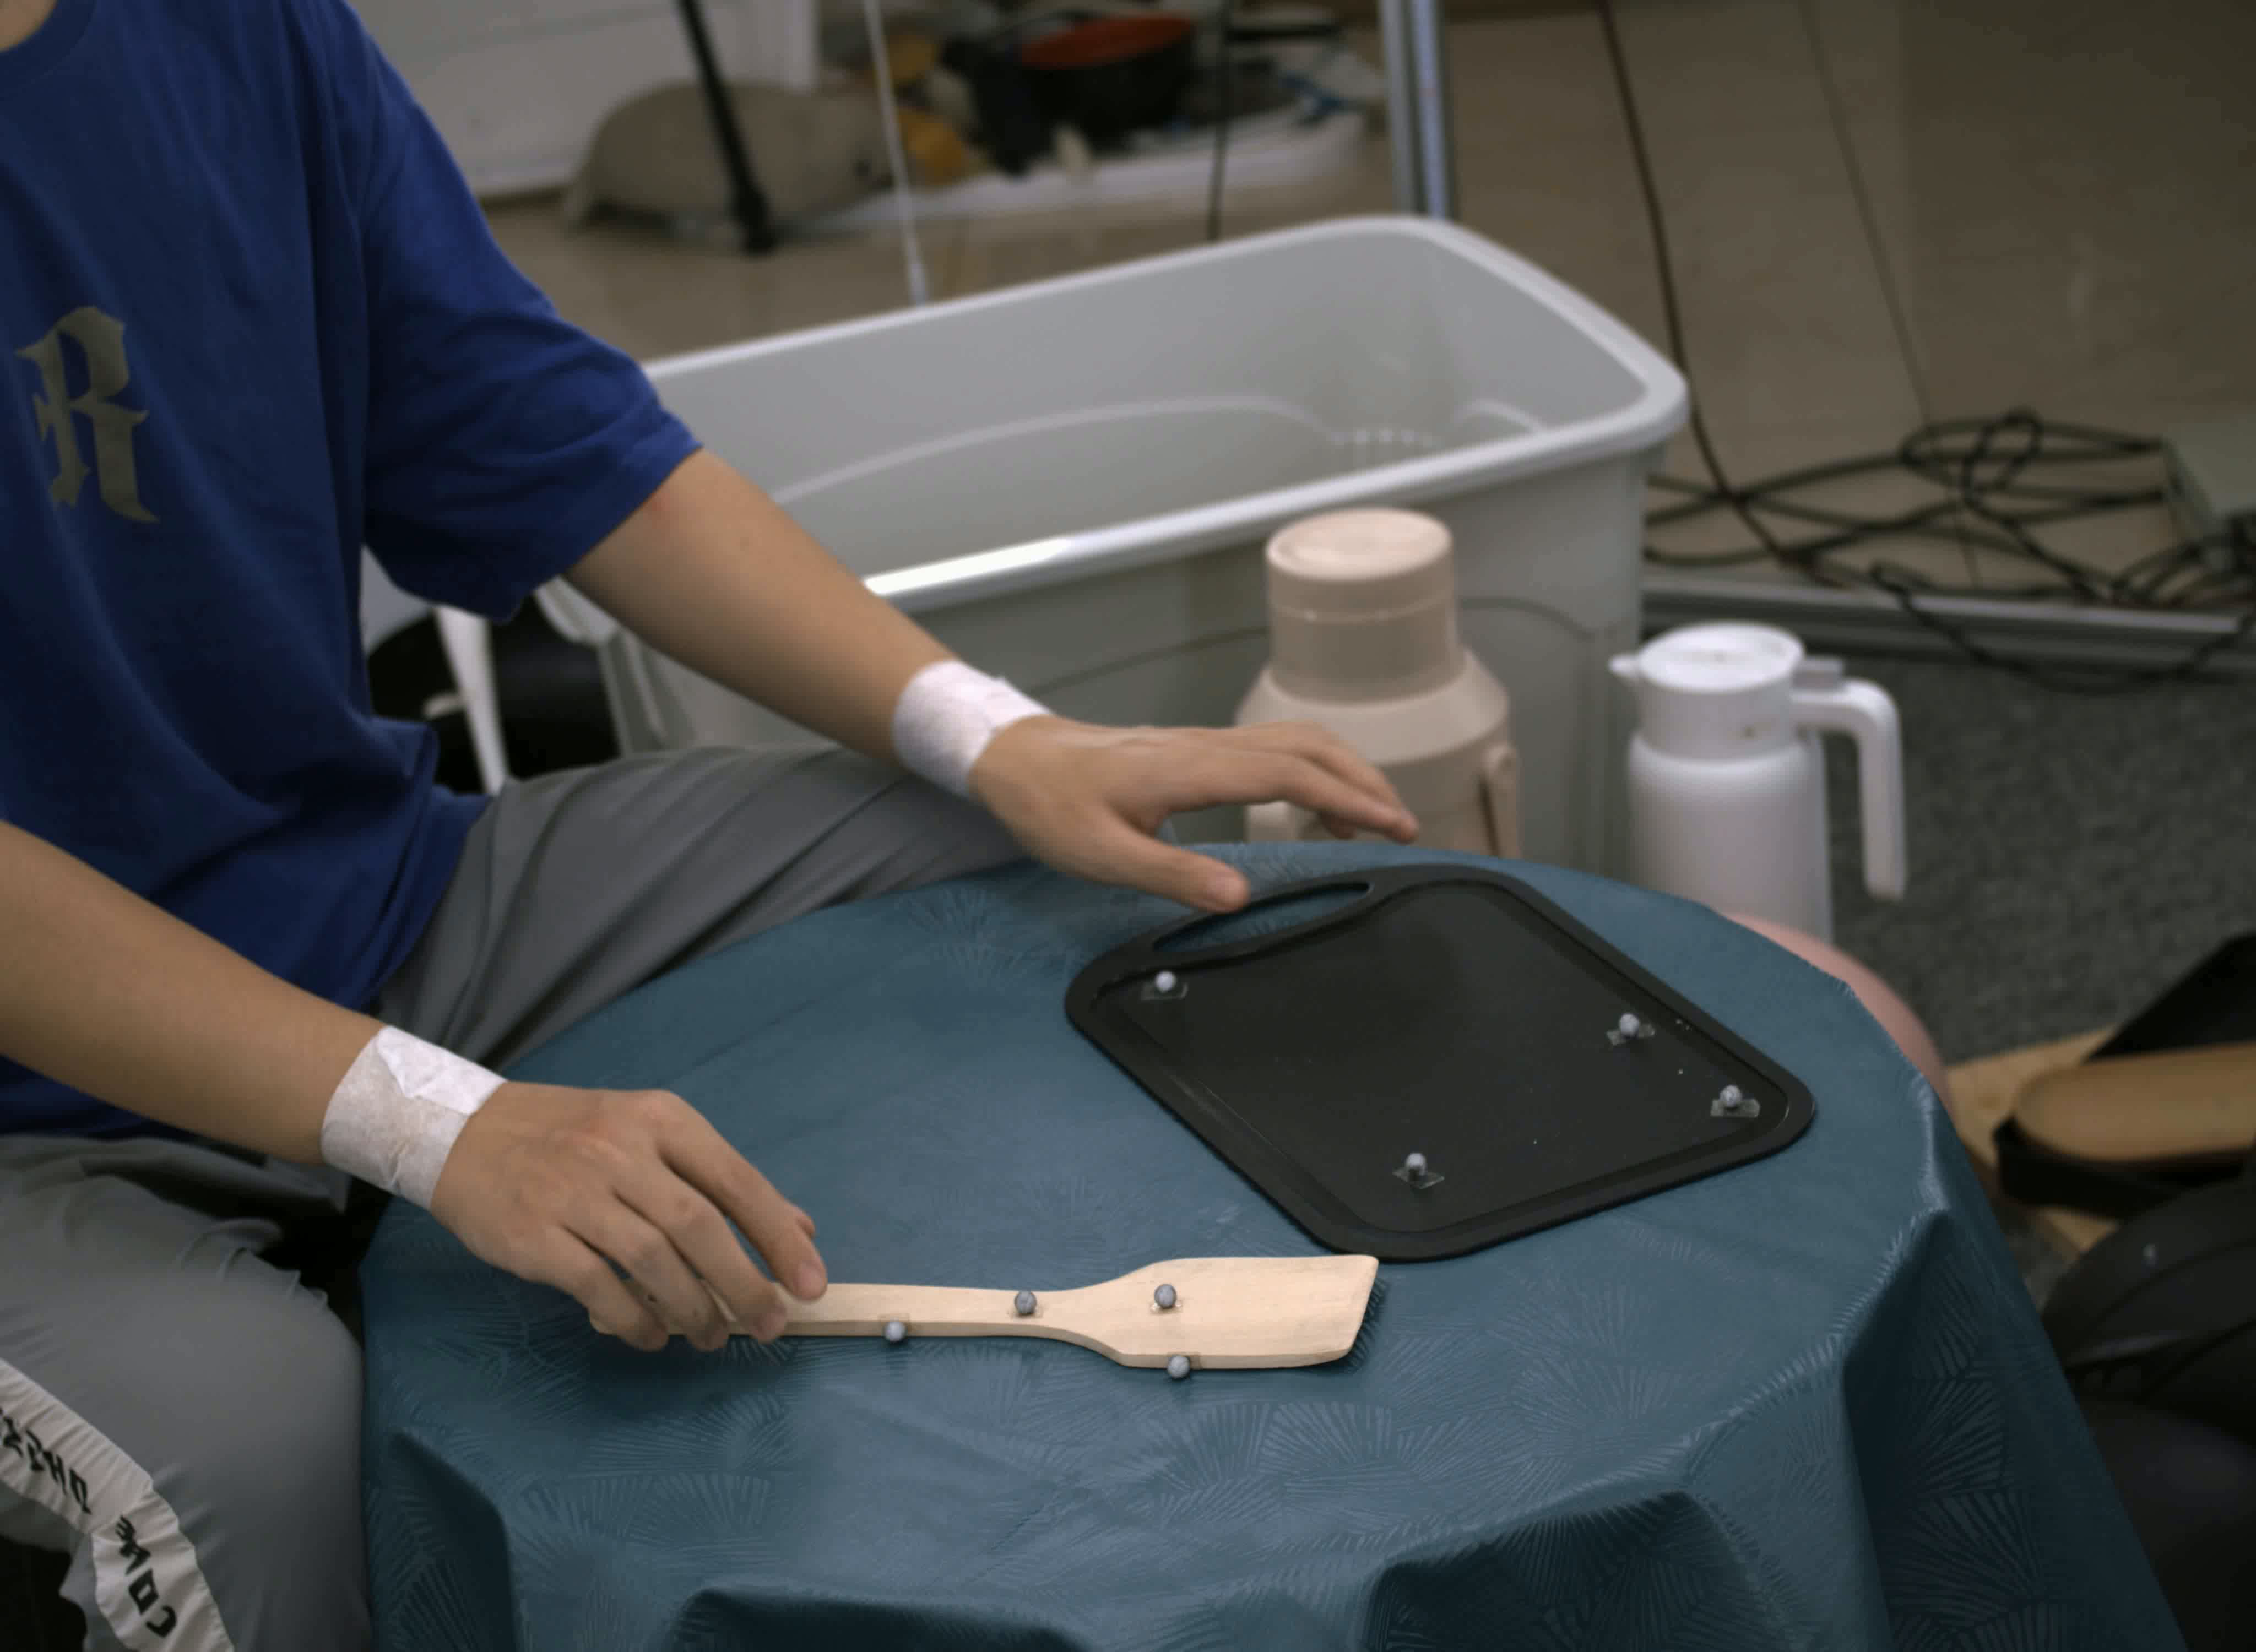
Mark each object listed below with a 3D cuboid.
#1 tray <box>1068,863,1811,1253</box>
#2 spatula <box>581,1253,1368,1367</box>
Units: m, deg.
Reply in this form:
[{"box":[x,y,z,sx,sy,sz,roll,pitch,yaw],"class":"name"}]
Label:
[{"box":[0.112,0.083,2.231,0.210,0.010,0.321,-16,26,-19],"class":"tray"},{"box":[-0.060,0.176,2.071,0.292,0.011,0.071,-1,27,13],"class":"spatula"}]
